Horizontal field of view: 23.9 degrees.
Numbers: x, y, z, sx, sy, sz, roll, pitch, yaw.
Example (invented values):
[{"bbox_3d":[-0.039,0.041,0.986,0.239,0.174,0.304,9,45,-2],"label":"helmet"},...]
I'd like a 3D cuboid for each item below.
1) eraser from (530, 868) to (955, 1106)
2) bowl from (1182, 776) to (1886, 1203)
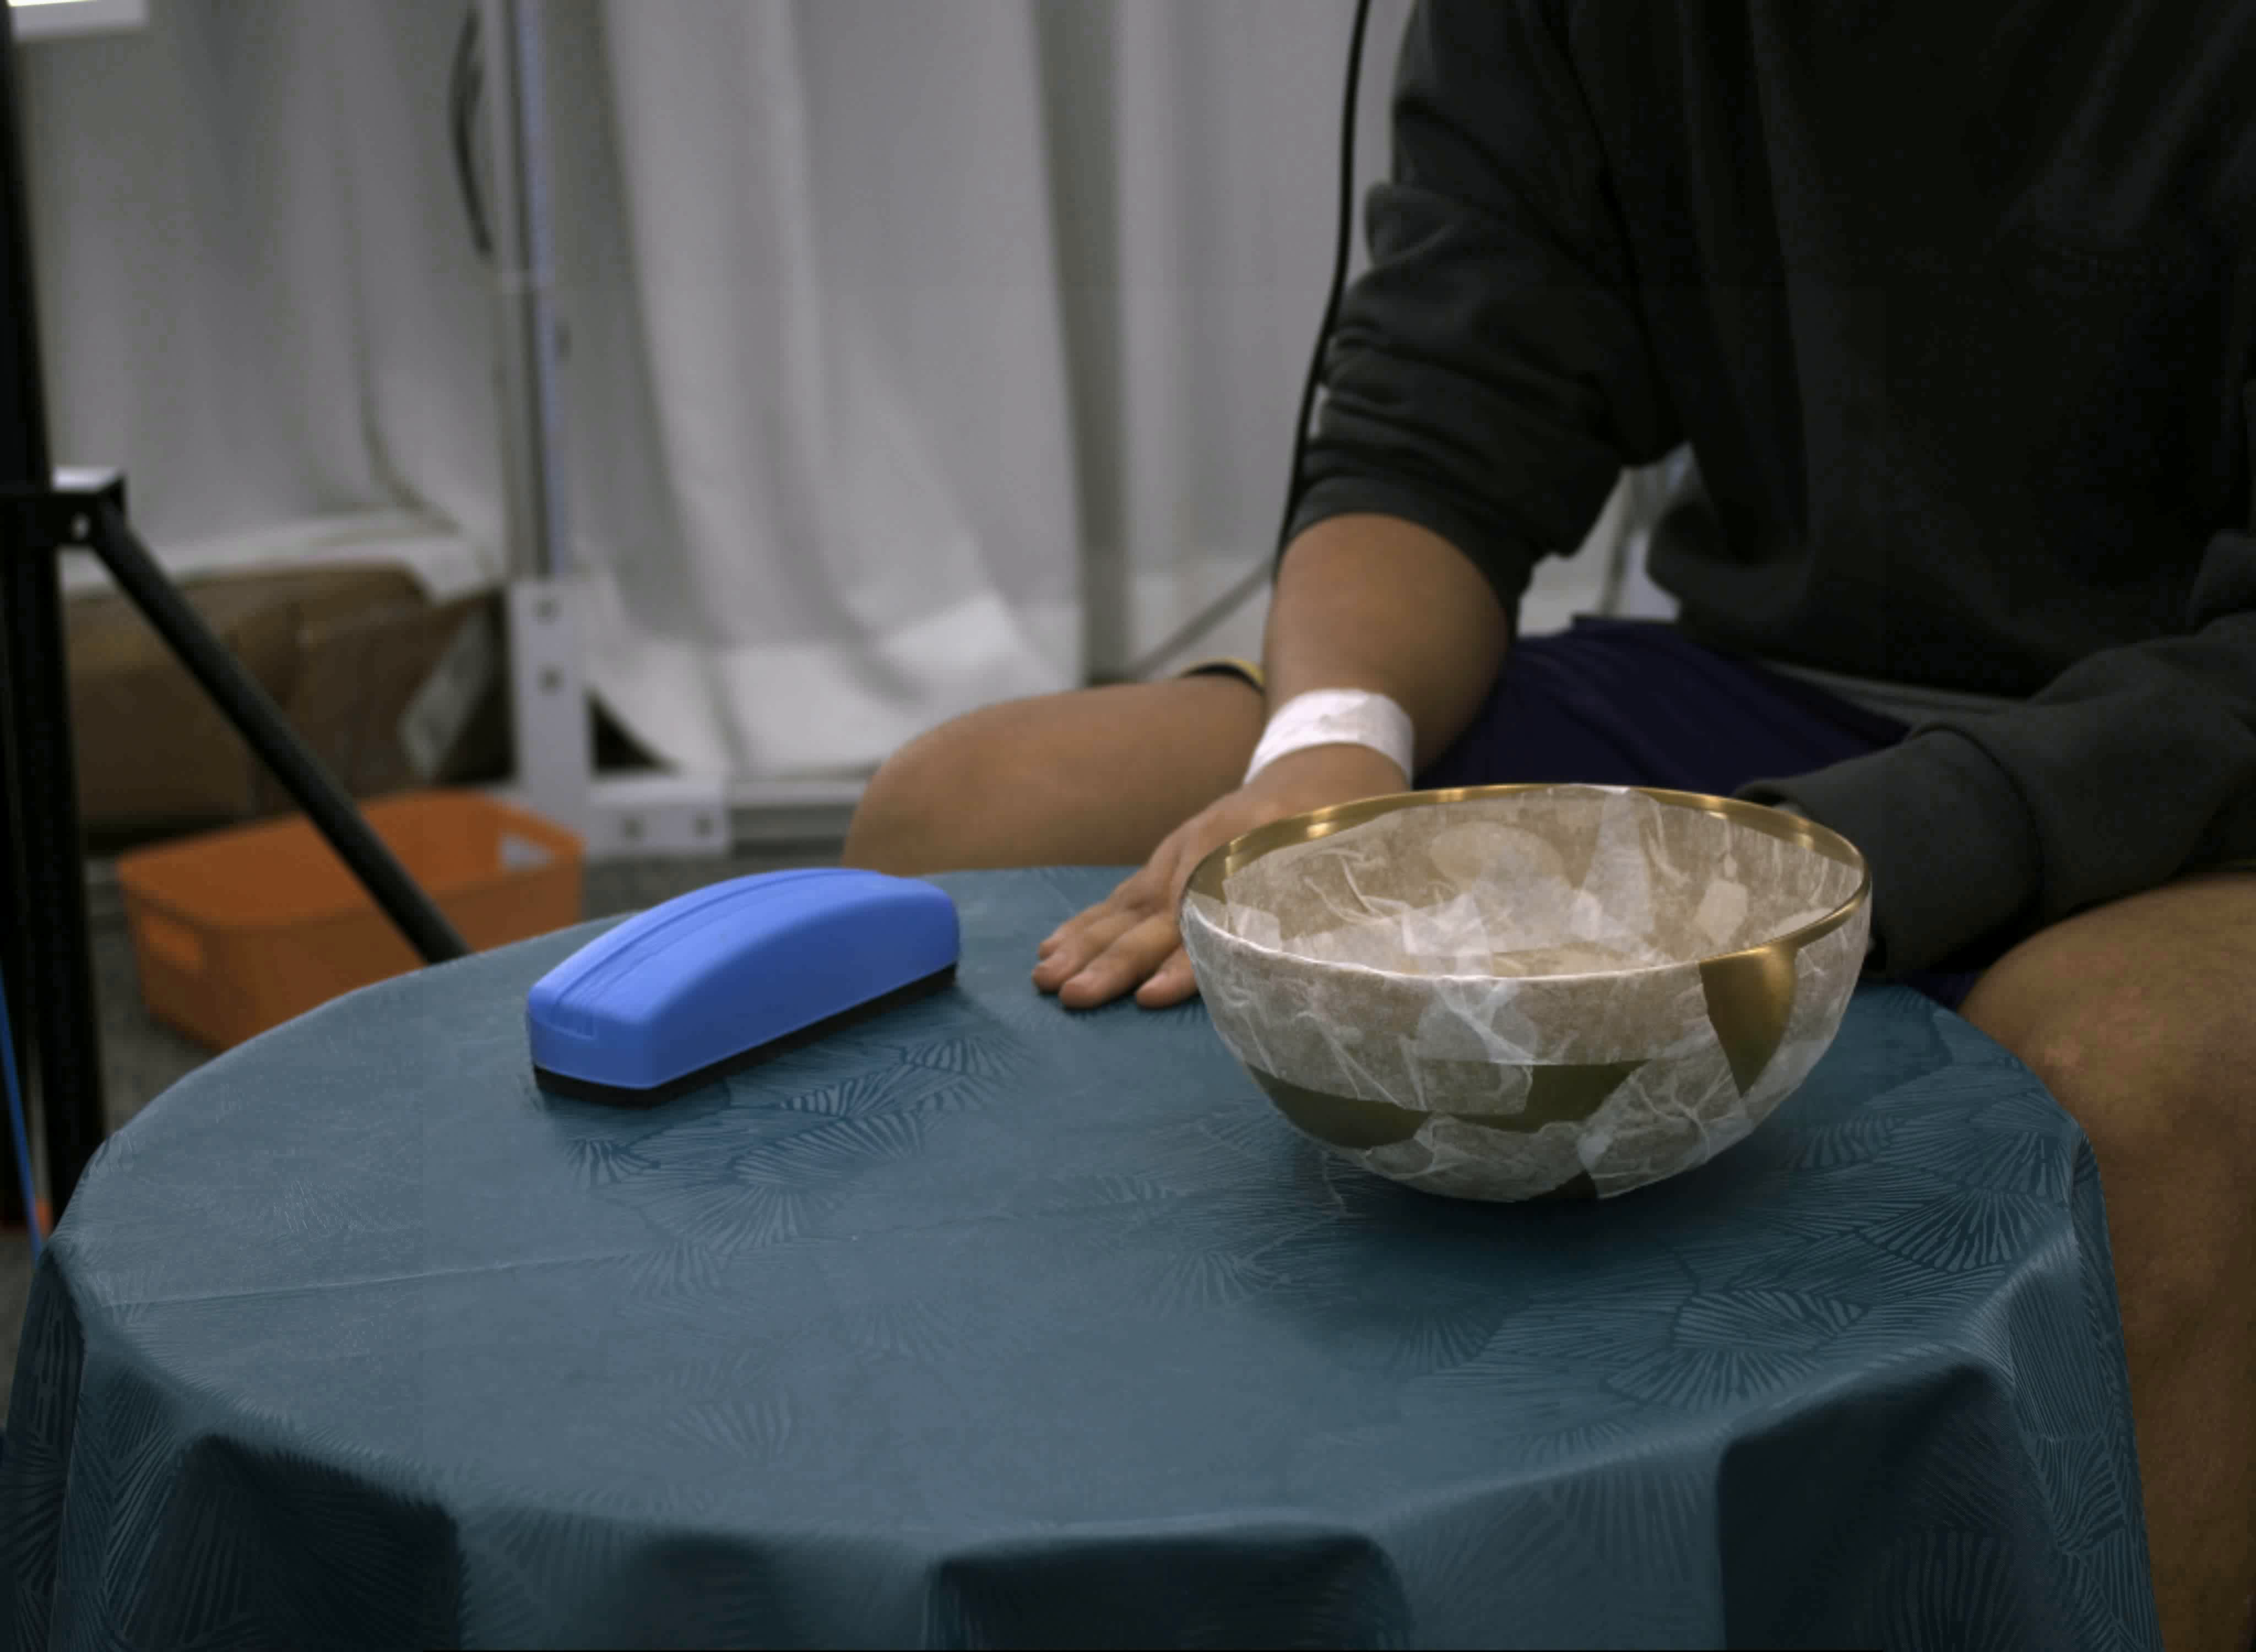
[{"bbox_3d":[-0.123,0.045,1.718,0.055,0.047,0.159,7,18,38],"label":"eraser"},{"bbox_3d":[0.121,0.056,1.554,0.213,0.094,0.216,-4,15,0],"label":"bowl"}]
